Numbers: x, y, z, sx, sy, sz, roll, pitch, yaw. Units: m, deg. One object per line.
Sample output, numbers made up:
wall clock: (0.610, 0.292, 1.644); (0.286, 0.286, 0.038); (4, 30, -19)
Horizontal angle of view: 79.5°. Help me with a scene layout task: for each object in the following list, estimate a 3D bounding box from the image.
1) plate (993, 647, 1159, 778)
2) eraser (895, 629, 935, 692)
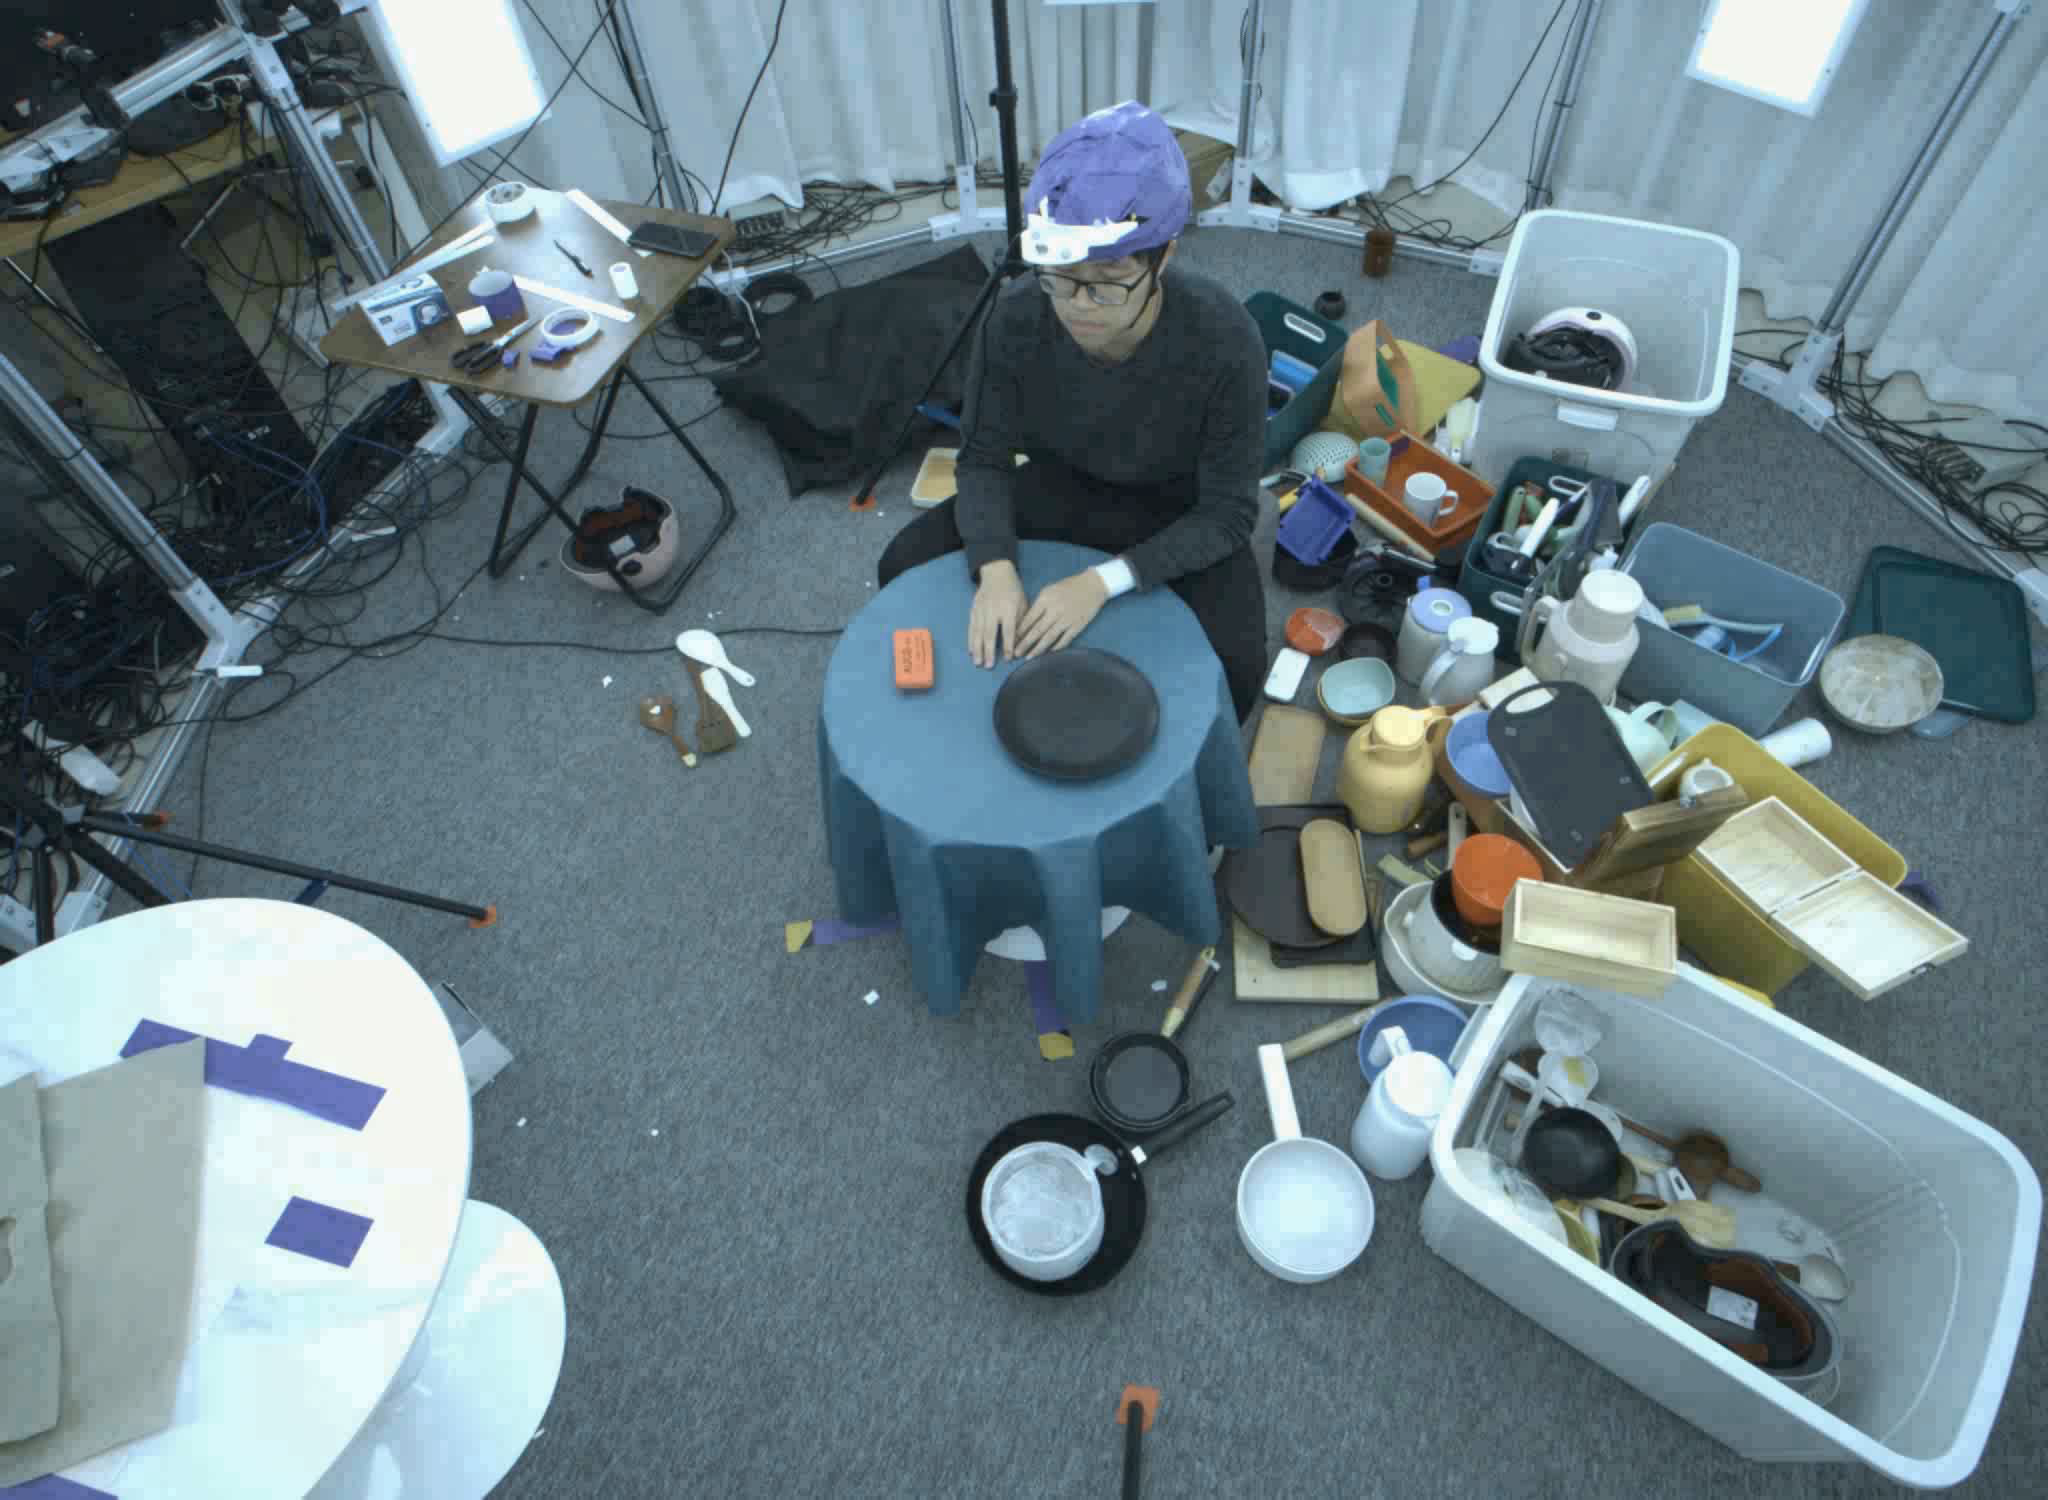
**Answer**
plate: (0.077, -0.052, 1.808); (0.244, 0.024, 0.242); (-1, 55, 2)
eraser: (-0.168, -0.138, 1.876); (0.059, 0.023, 0.107); (-4, 55, -2)
